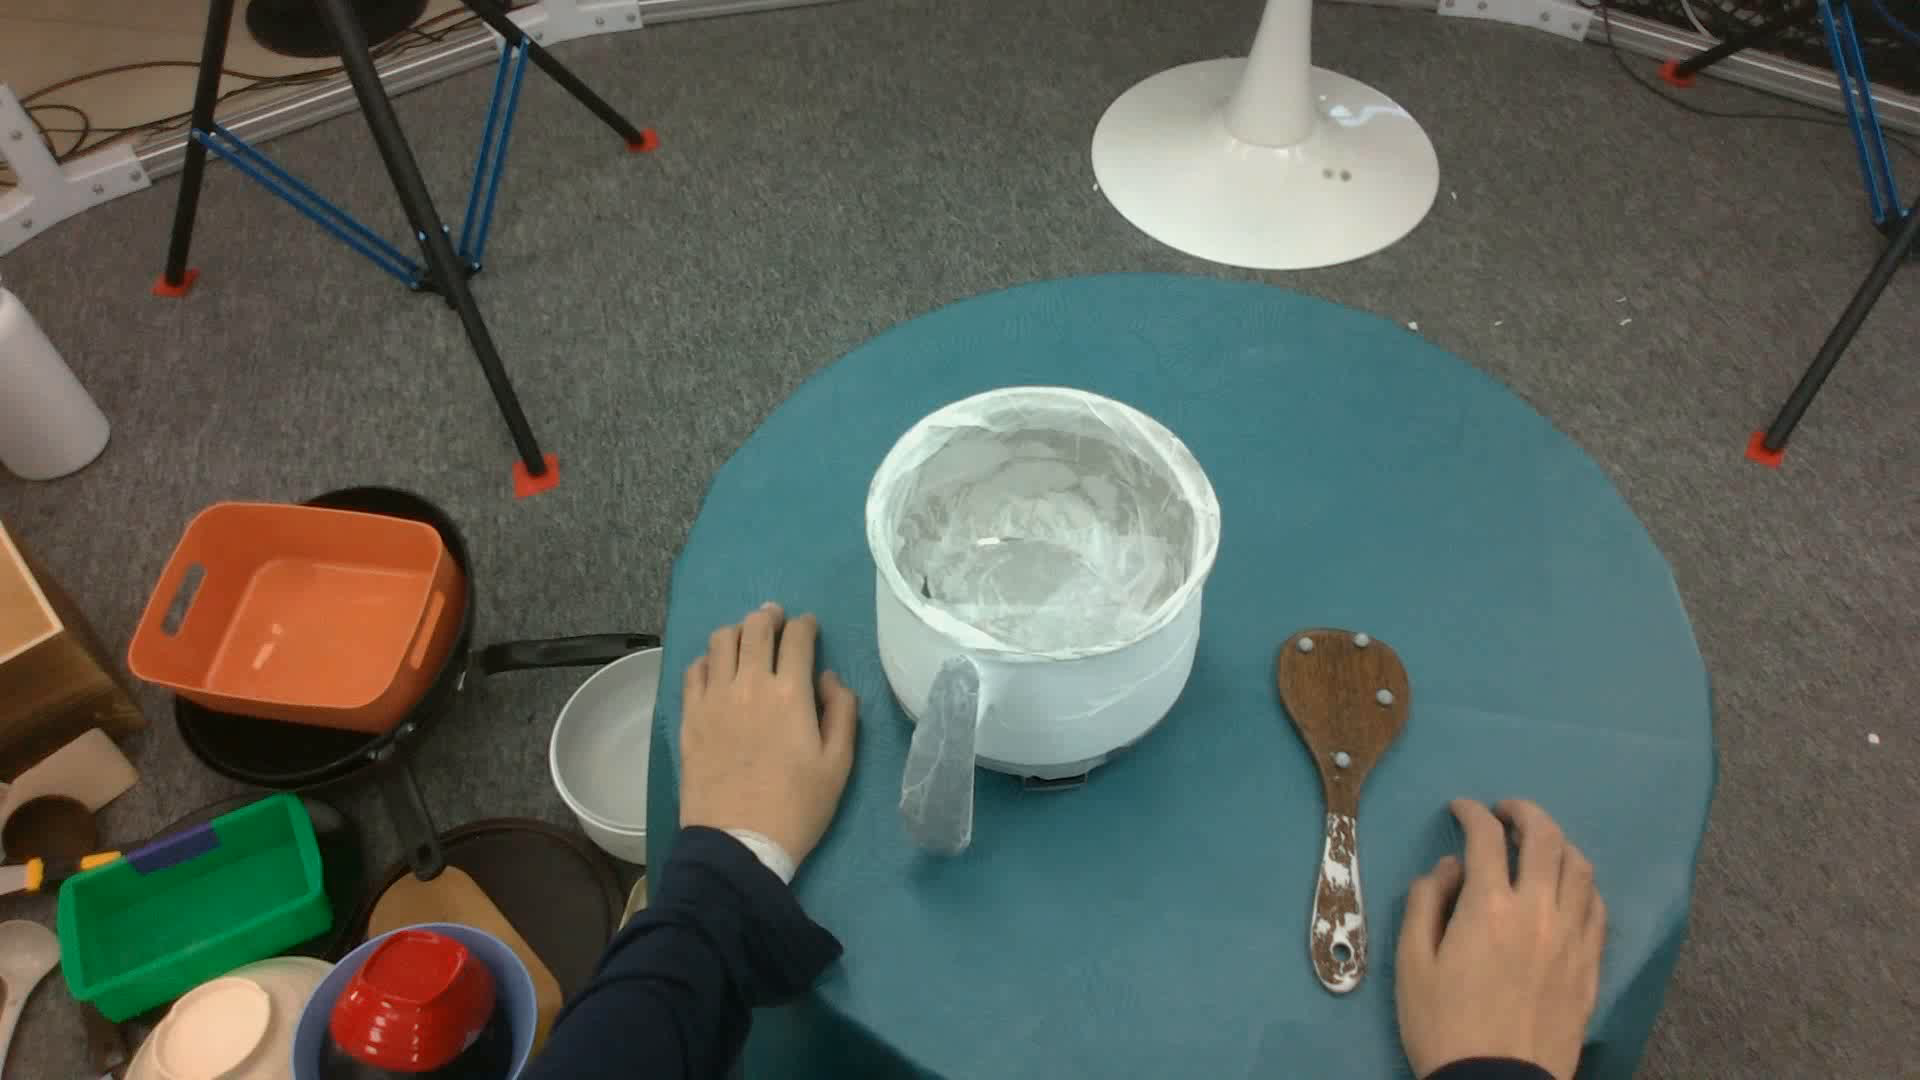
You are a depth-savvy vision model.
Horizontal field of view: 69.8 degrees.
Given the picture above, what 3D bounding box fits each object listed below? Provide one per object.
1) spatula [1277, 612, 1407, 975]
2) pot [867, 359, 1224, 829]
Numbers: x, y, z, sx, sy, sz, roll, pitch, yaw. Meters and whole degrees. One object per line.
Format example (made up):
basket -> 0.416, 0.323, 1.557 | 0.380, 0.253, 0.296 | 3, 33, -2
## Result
spatula -> 0.198, 0.125, 0.729 | 0.072, 0.009, 0.217 | 9, 54, 8
pot -> 0.032, 0.031, 0.714 | 0.178, 0.136, 0.235 | 18, 53, 16
